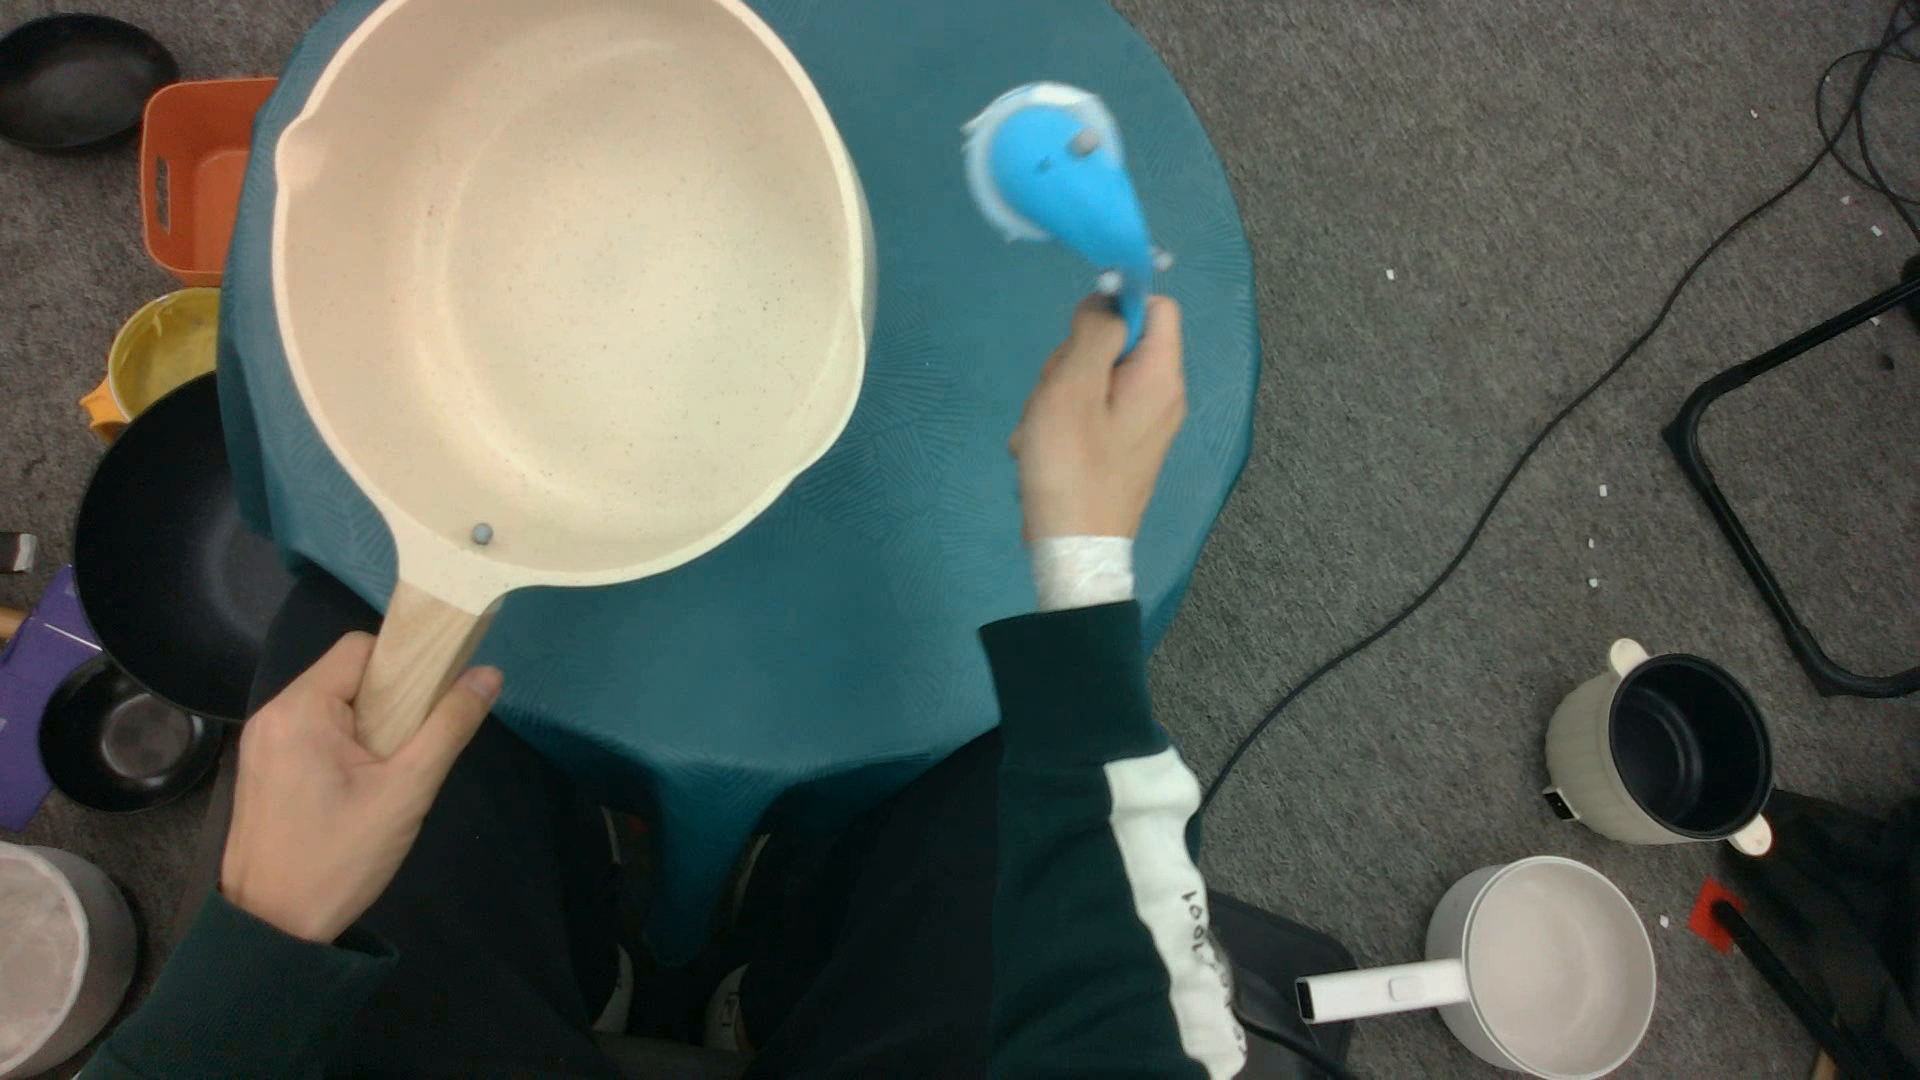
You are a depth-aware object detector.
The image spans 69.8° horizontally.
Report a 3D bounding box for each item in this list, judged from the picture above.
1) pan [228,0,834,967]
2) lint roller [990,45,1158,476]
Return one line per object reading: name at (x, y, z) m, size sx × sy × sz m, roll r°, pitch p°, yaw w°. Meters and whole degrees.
pan at (-0.203, -0.027, 0.594) m, size 0.263 × 0.102 × 0.434 m, roll 22°, pitch 100°, yaw 6°
lint roller at (0.048, -0.117, 0.596) m, size 0.068 × 0.229 × 0.180 m, roll -2°, pitch 108°, yaw 4°
